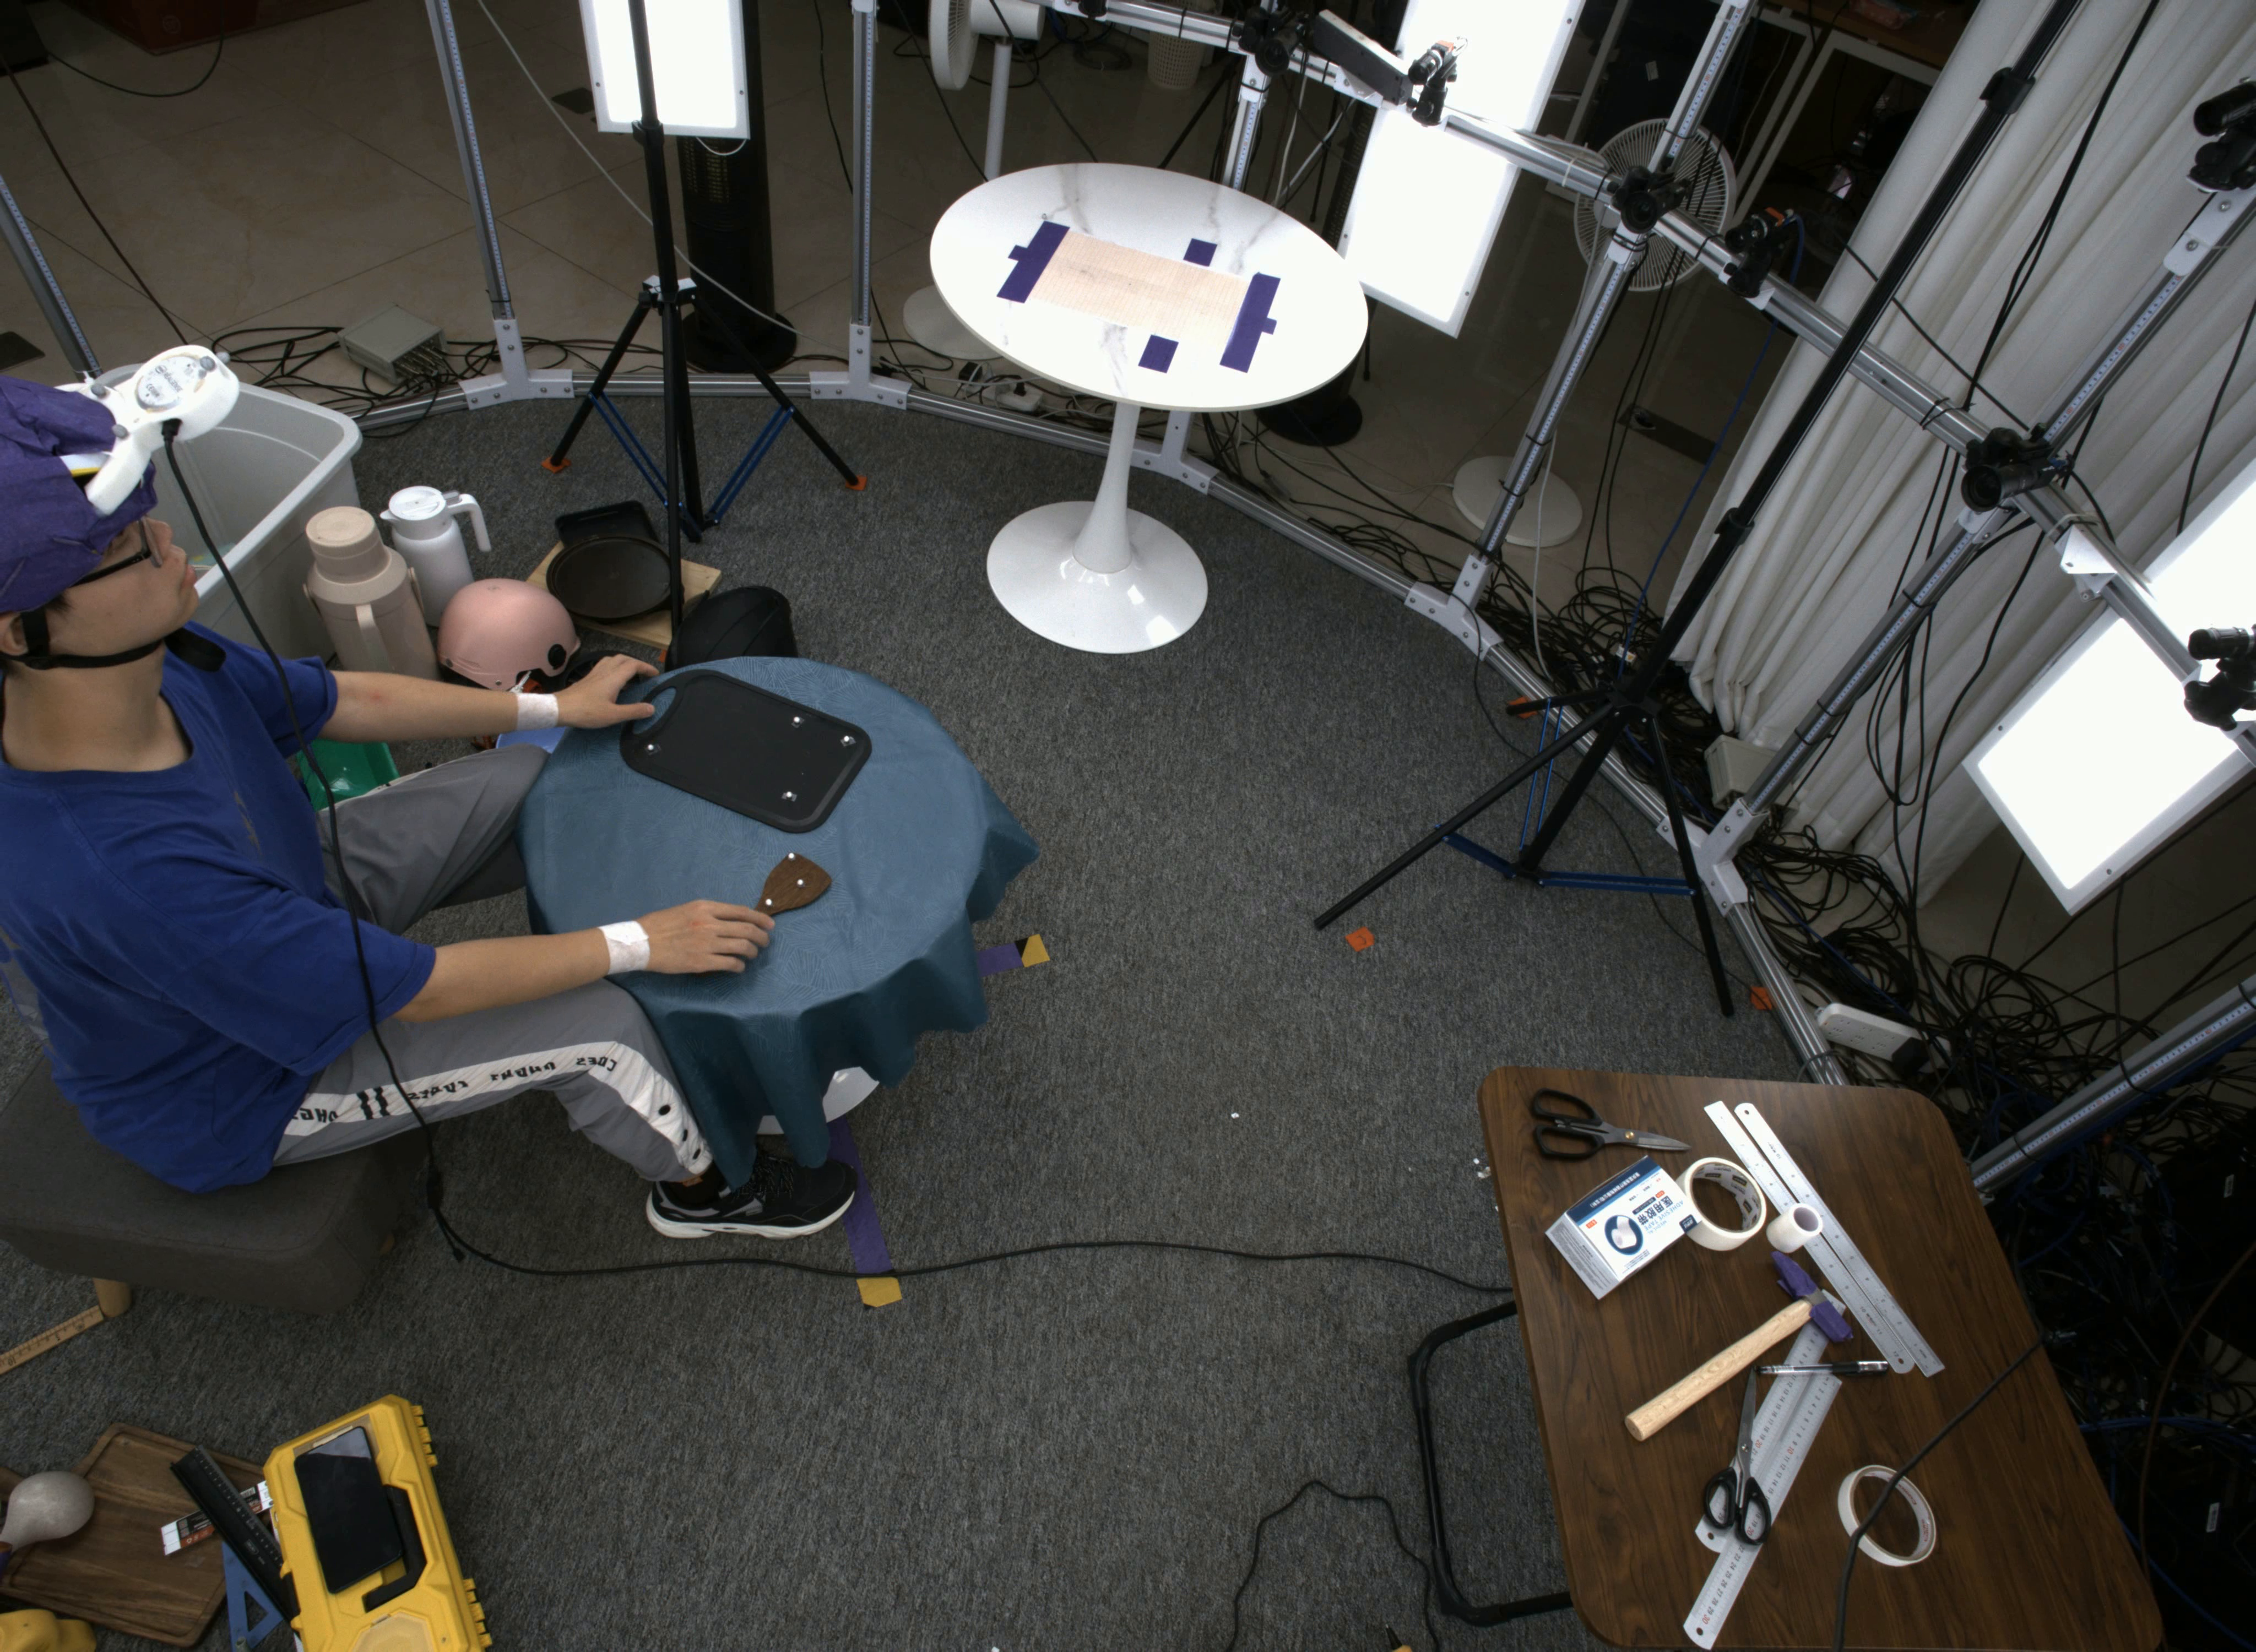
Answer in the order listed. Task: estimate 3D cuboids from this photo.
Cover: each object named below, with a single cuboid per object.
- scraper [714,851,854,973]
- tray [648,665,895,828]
[{"bbox_3d":[-0.441,0.110,1.643,0.074,0.011,0.211,35,55,13],"label":"scraper"},{"bbox_3d":[-0.503,-0.118,1.797,0.321,0.010,0.209,23,52,4],"label":"tray"}]
